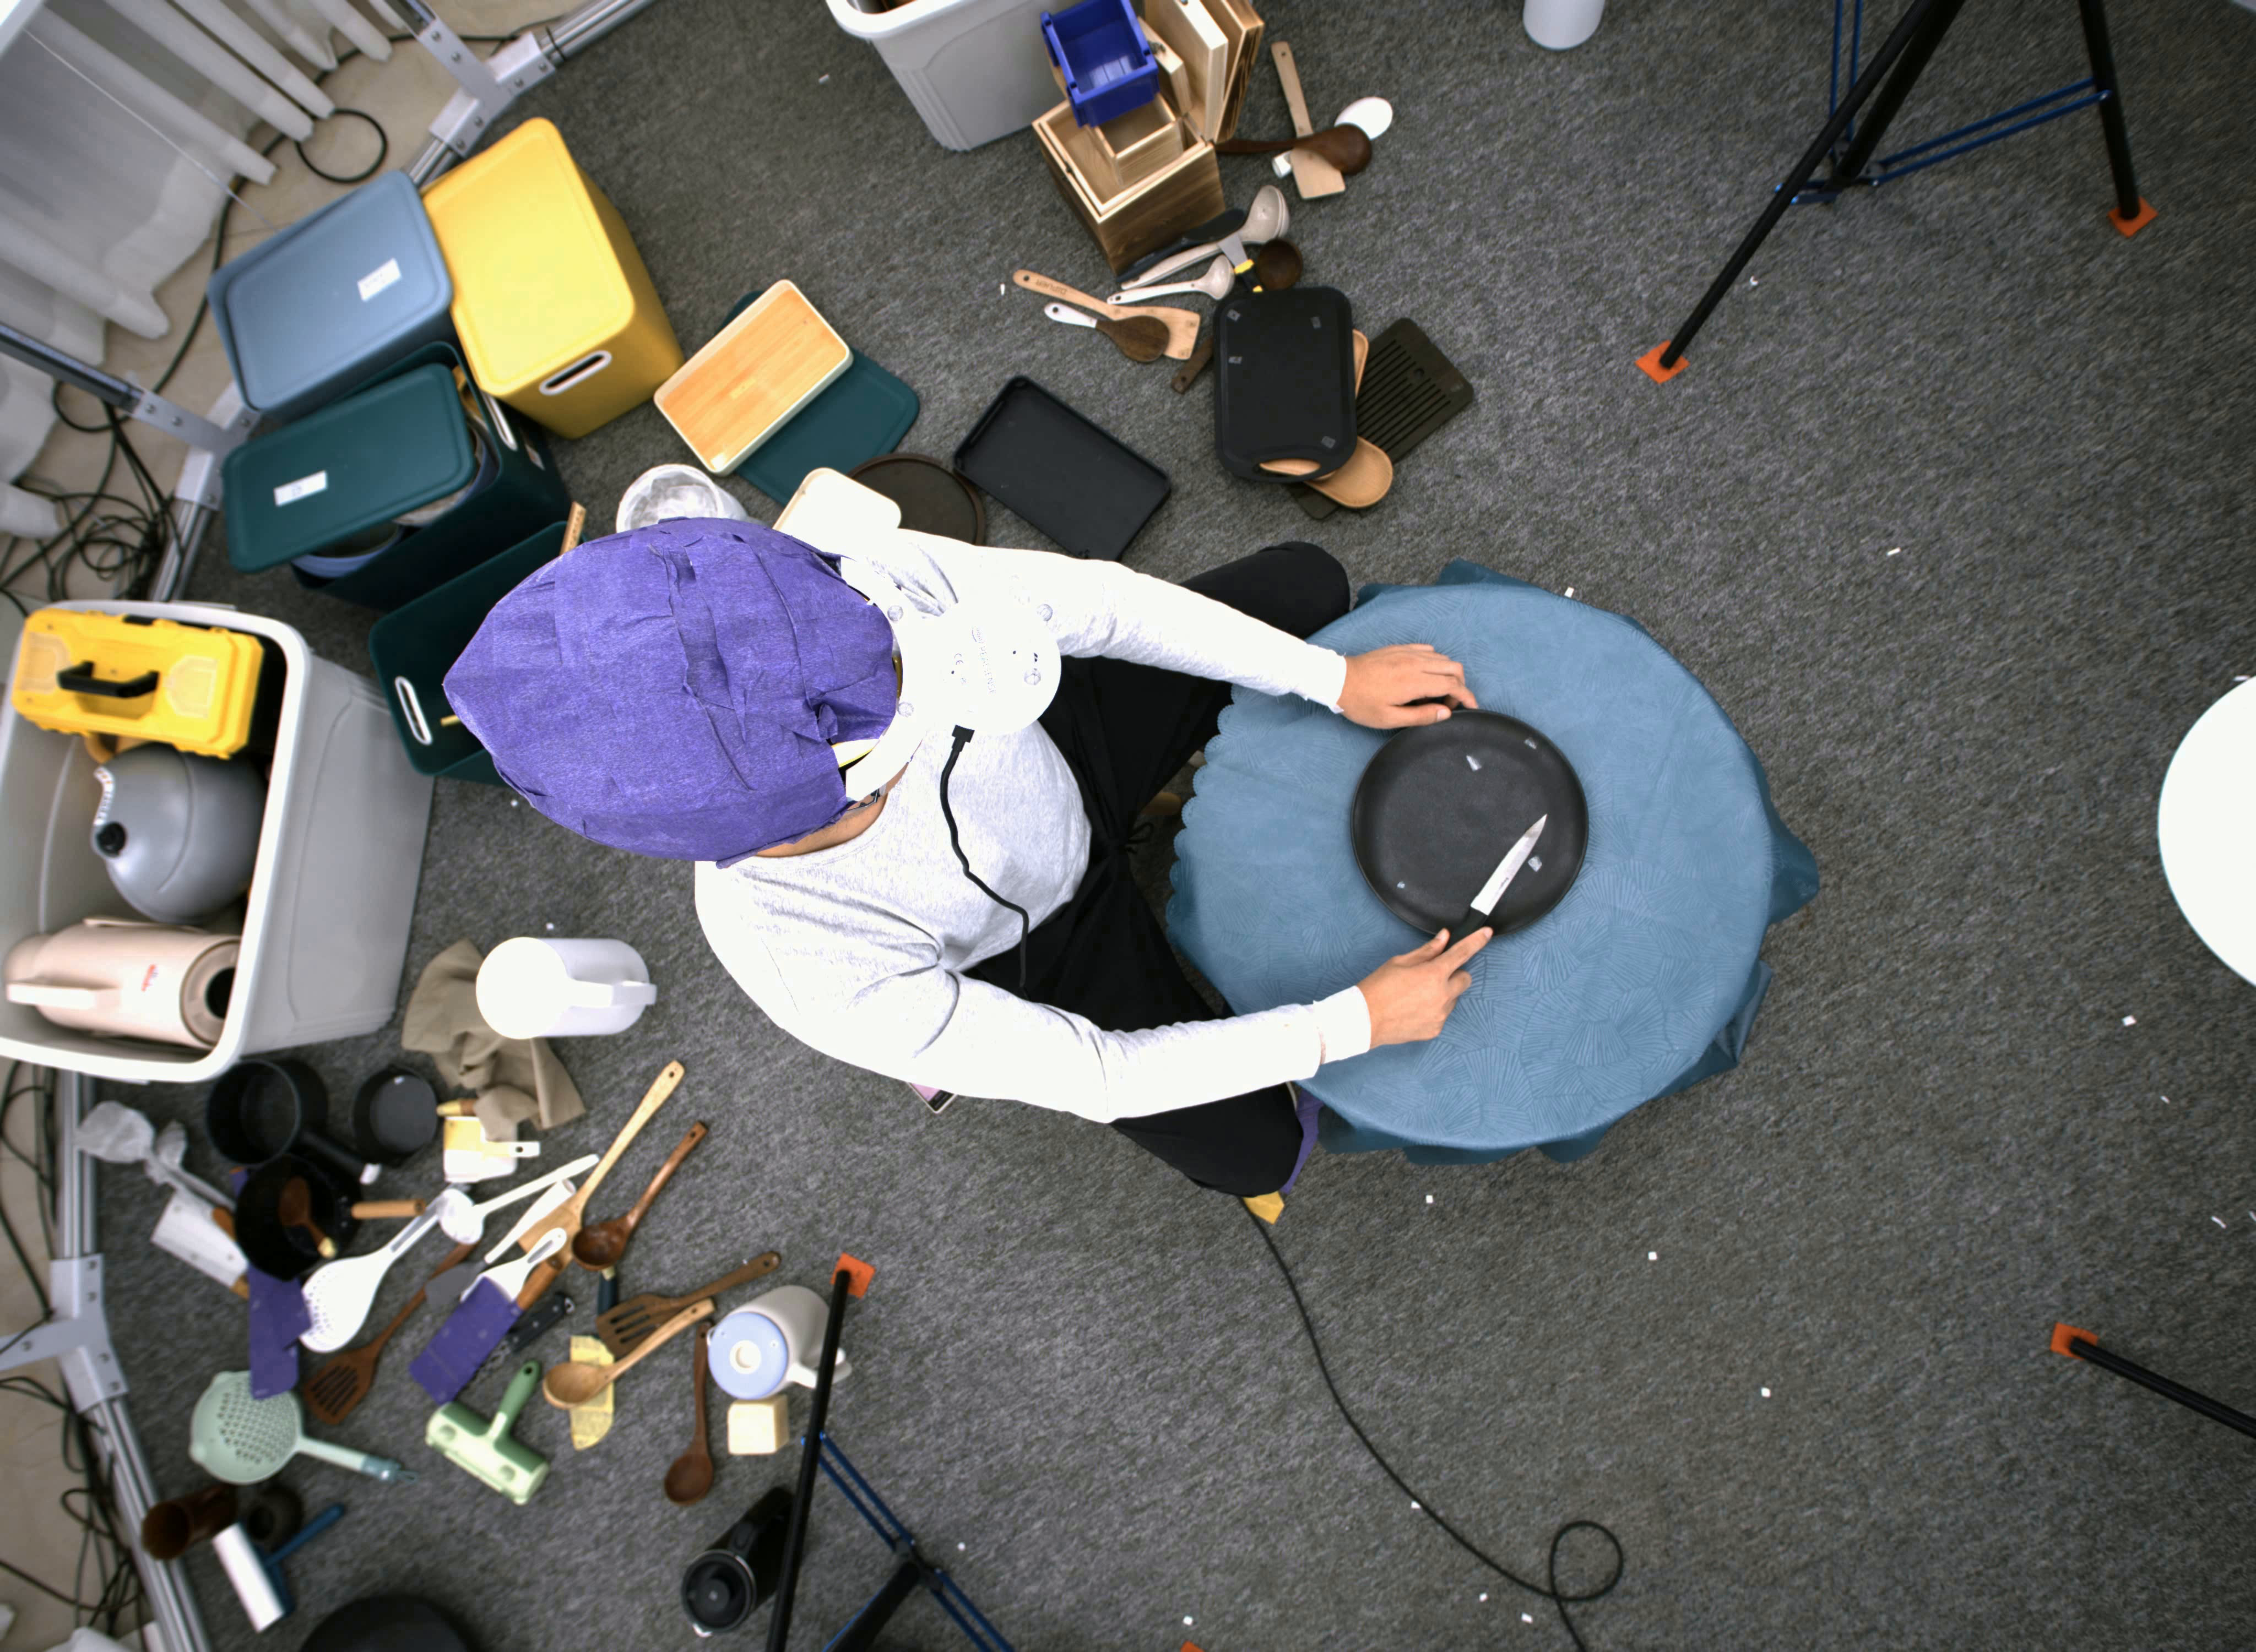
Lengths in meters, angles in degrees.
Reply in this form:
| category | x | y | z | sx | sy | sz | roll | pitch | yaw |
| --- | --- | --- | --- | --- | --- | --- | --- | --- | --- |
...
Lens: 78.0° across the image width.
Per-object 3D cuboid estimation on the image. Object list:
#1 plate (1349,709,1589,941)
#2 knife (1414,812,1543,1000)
| category | x | y | z | sx | sy | sz | roll | pitch | yaw |
| --- | --- | --- | --- | --- | --- | --- | --- | --- | --- |
| plate | 0.355 | -0.002 | 1.437 | 0.245 | 0.023 | 0.243 | -1 | 87 | 11 |
| knife | 0.366 | 0.080 | 1.414 | 0.024 | 0.016 | 0.237 | 32 | 83 | 29 |
